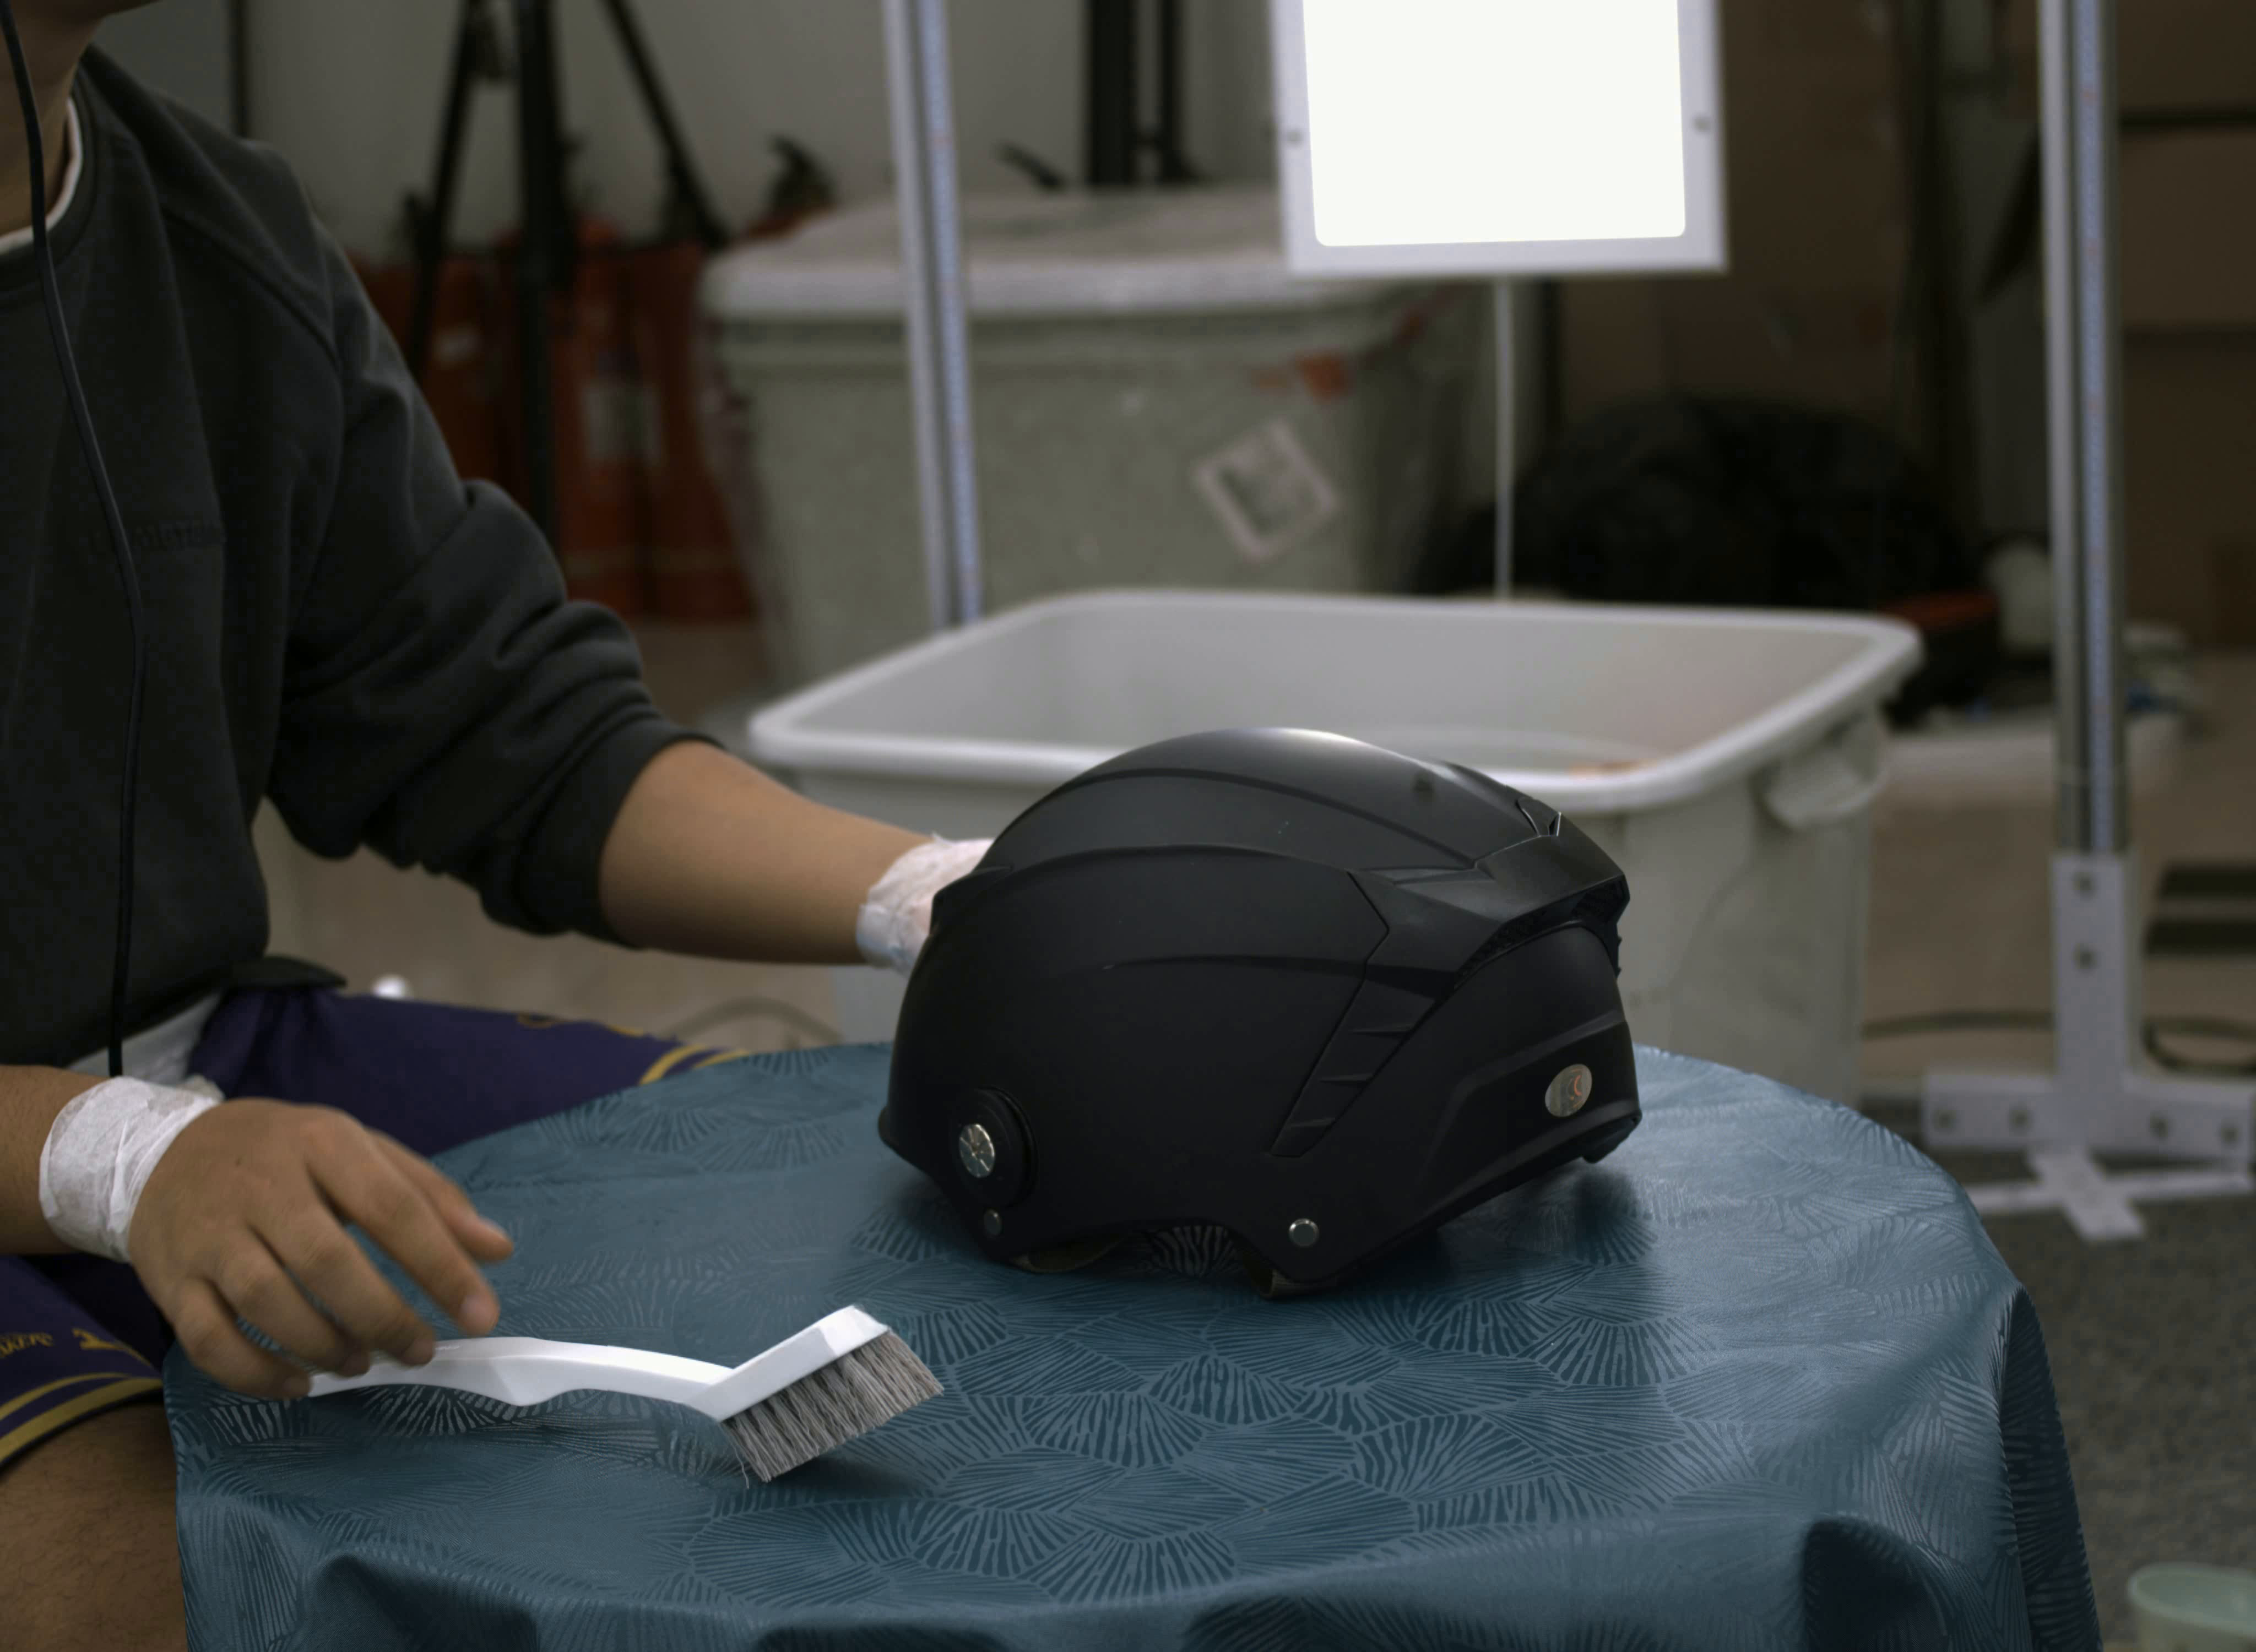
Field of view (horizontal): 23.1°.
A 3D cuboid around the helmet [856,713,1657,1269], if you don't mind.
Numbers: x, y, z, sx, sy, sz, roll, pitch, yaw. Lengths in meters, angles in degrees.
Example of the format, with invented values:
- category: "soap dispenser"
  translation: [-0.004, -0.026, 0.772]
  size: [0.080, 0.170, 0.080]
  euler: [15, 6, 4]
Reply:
- category: "helmet"
  translation: [0.044, 0.048, 1.866]
  size: [0.282, 0.173, 0.240]
  euler: [12, 21, 42]

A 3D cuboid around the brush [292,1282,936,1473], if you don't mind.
- category: "brush"
  translation: [-0.161, 0.178, 1.696]
  size: [0.249, 0.050, 0.033]
  euler: [-11, 8, 37]
